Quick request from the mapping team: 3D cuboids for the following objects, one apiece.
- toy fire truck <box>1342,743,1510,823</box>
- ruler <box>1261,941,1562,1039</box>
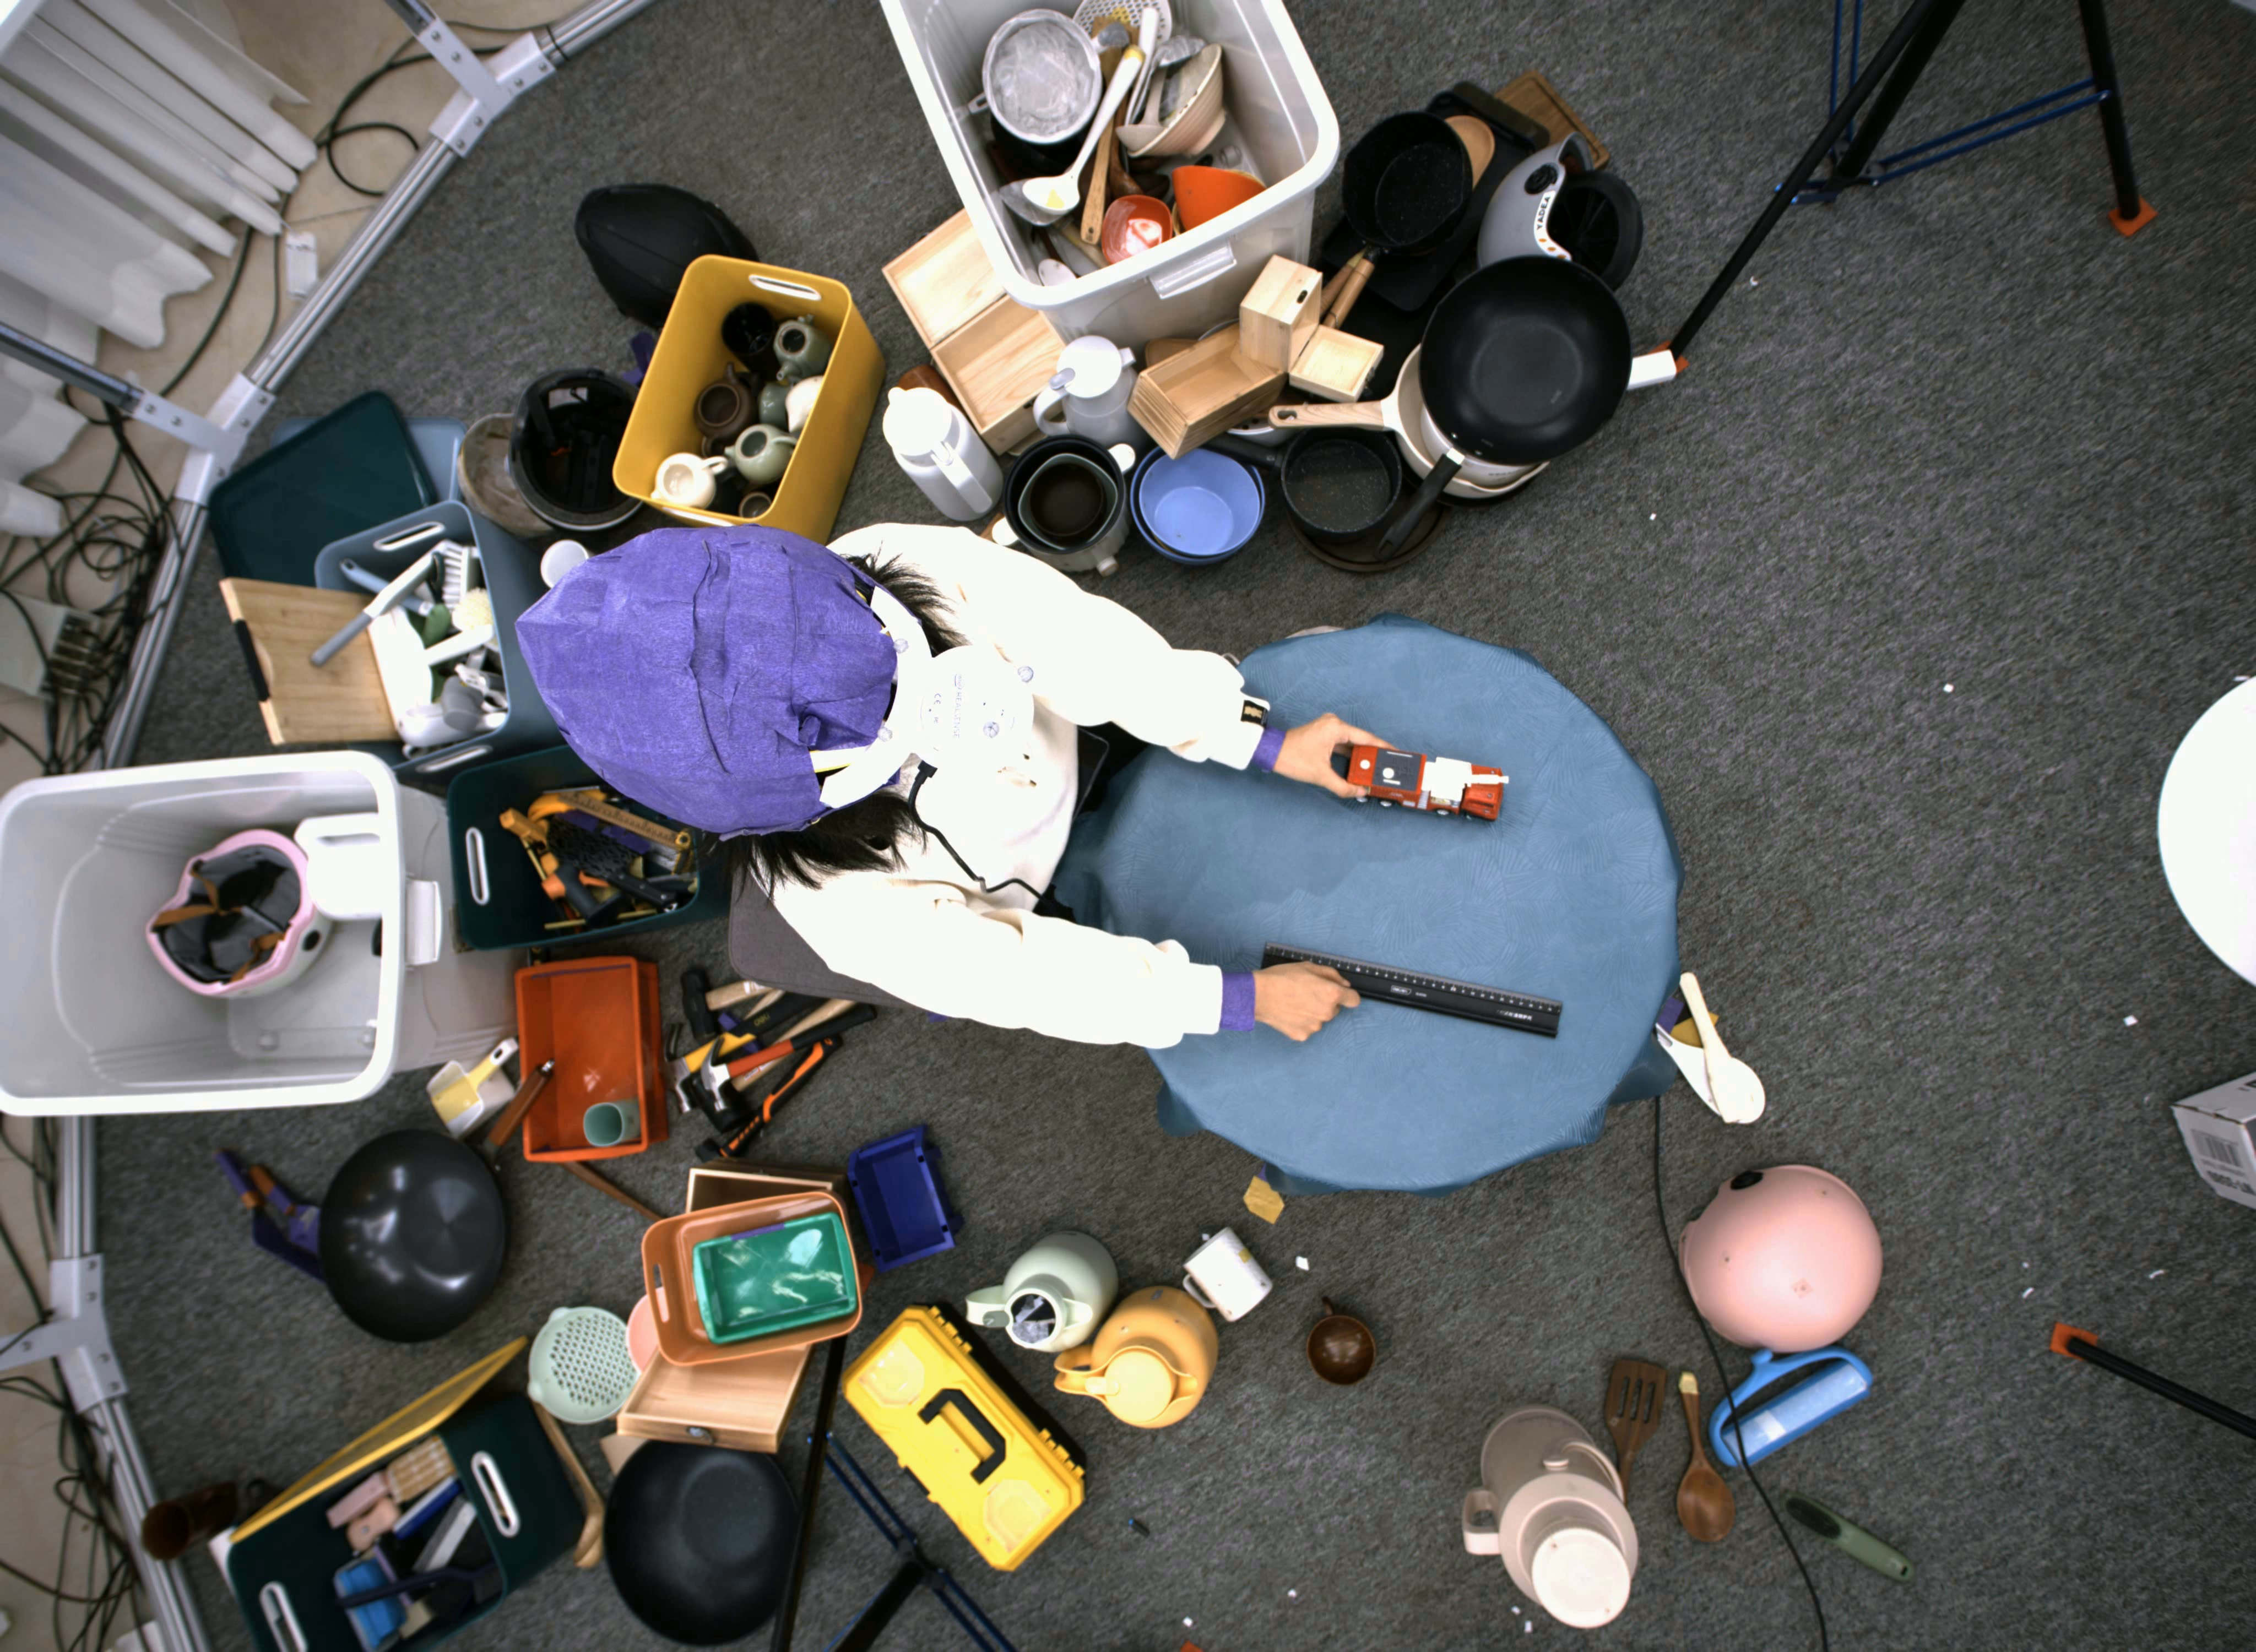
[{"bbox_3d":[0.308,-0.047,1.426,0.168,0.071,0.053,9,73,12],"label":"toy fire truck"},{"bbox_3d":[0.294,0.169,1.441,0.313,0.017,0.039,12,87,11],"label":"ruler"}]
